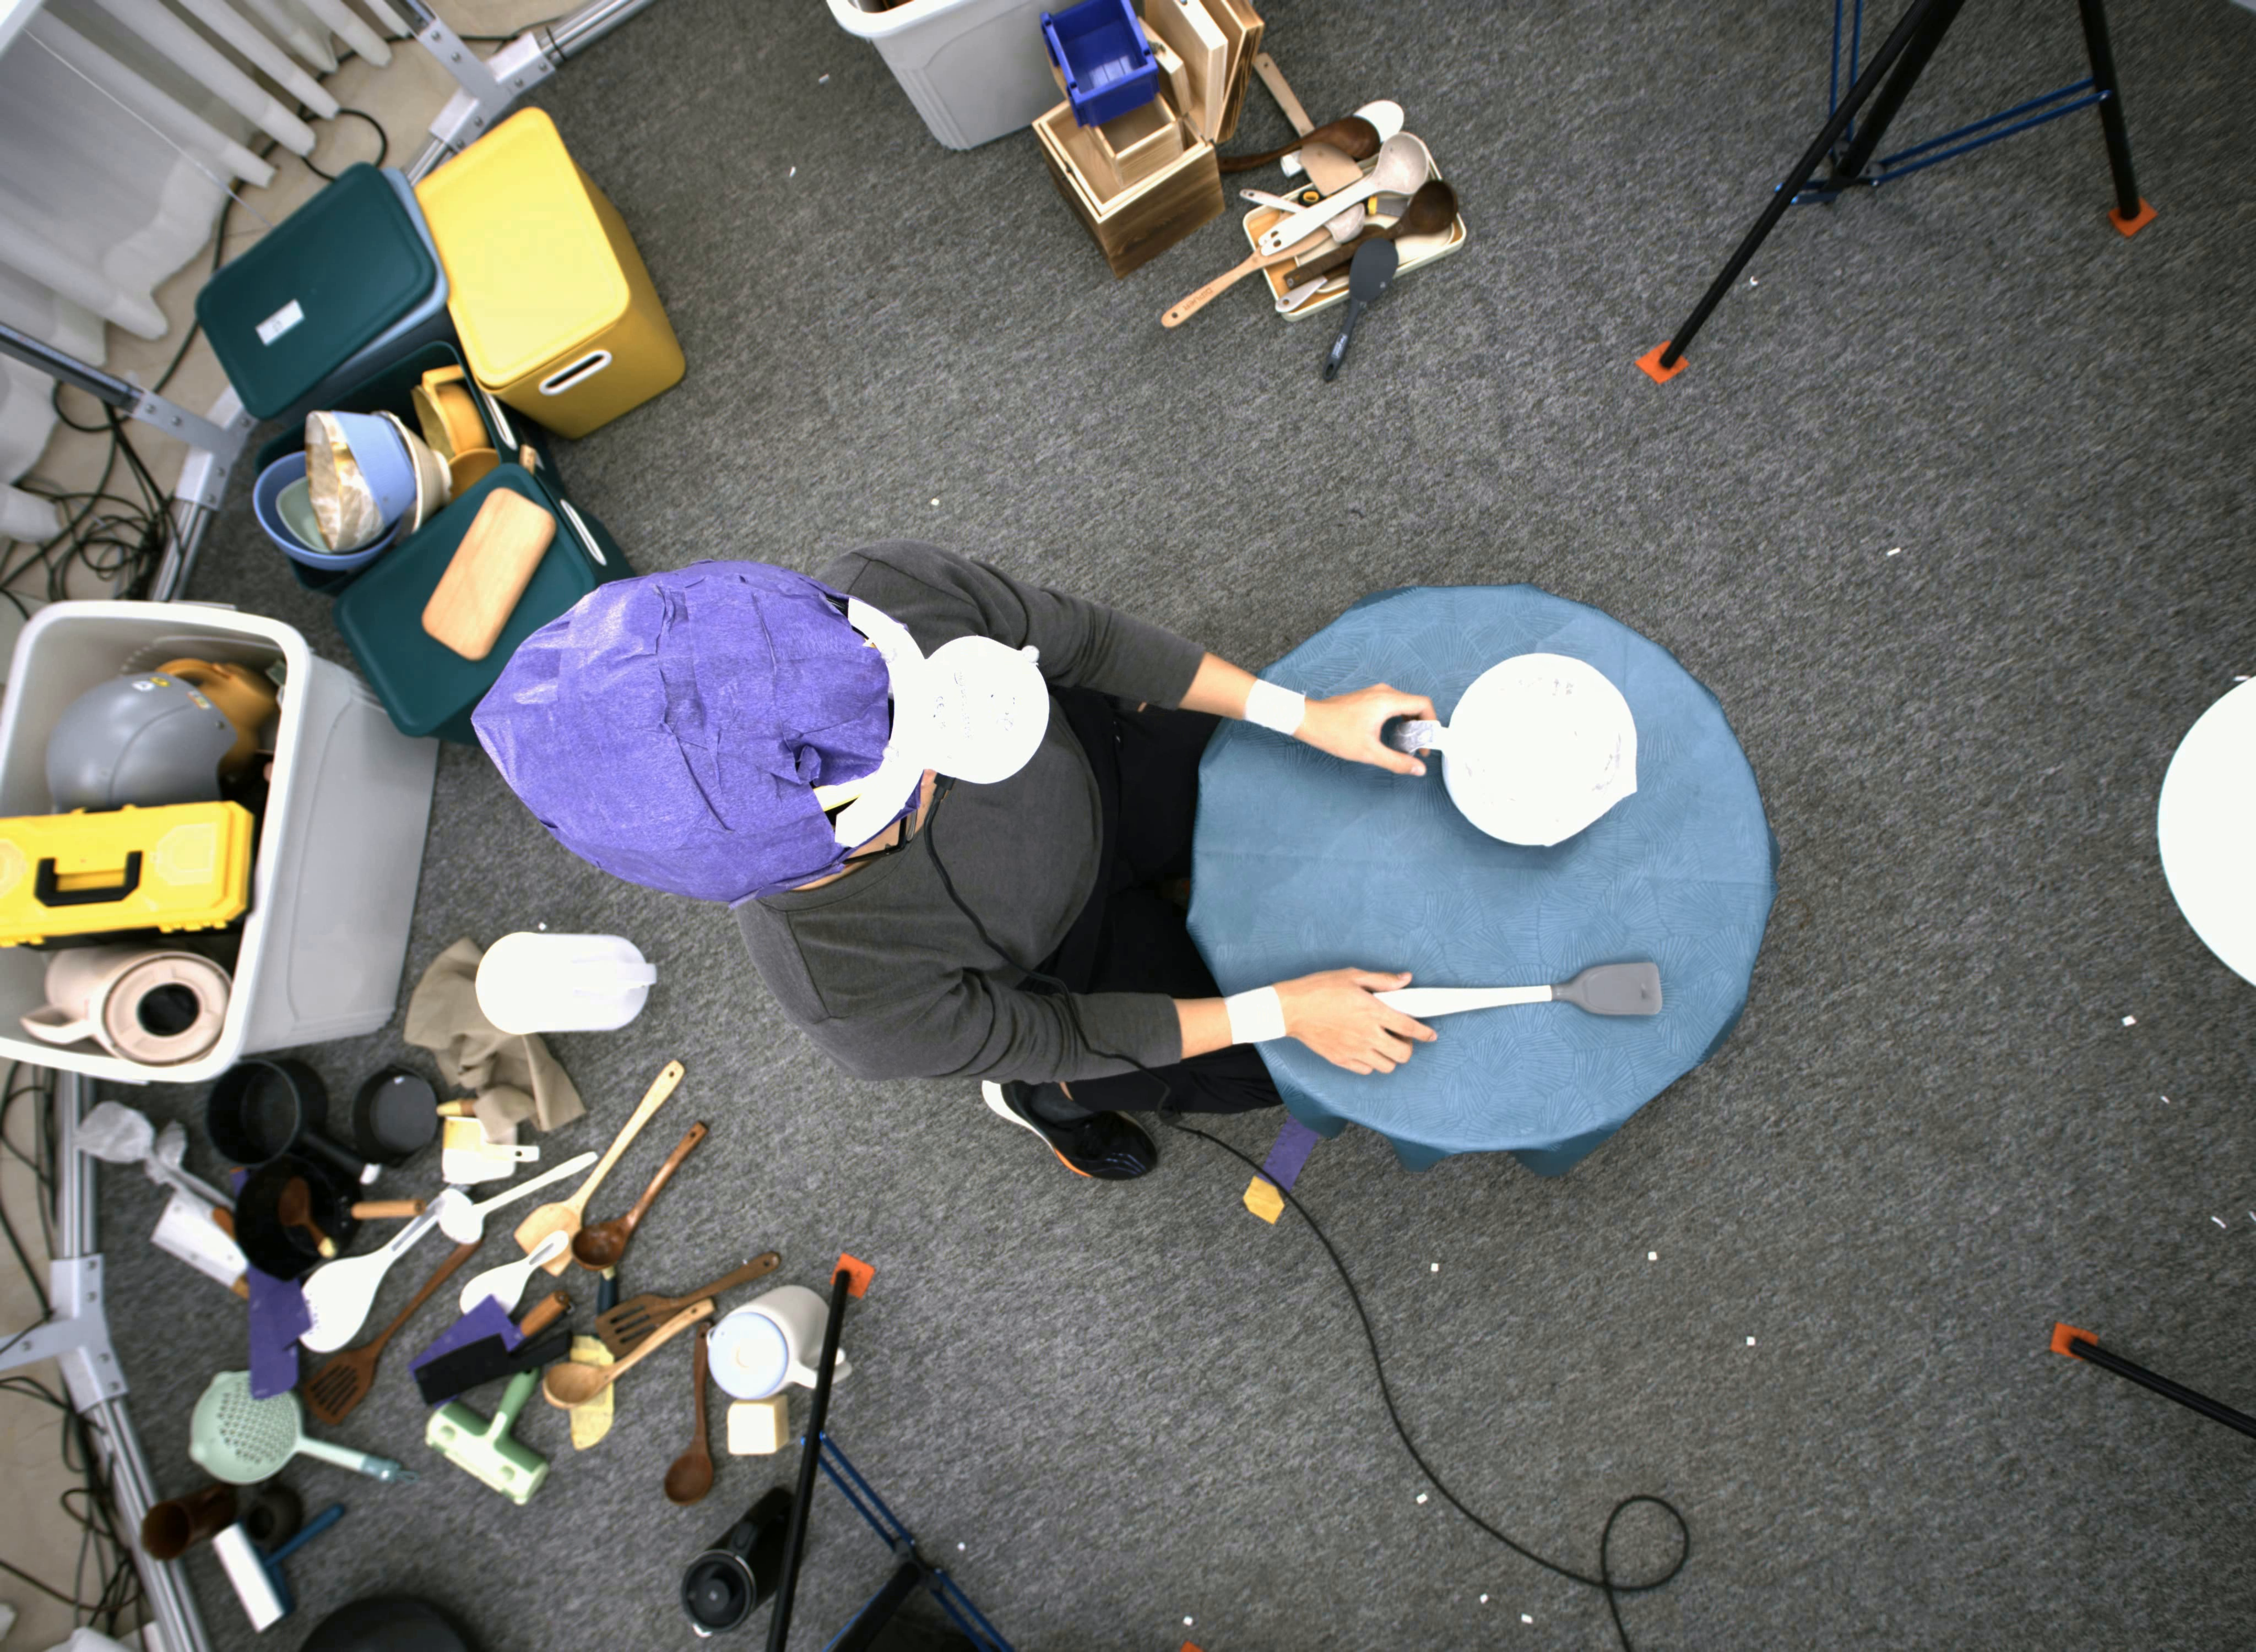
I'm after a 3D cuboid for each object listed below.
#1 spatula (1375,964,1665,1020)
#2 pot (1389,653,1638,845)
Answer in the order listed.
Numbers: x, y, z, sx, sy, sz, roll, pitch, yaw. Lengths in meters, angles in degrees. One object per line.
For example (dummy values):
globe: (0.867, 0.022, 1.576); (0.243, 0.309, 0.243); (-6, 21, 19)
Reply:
spatula: (0.400, 0.173, 1.413); (0.289, 0.032, 0.058); (-4, 83, 11)
pot: (0.380, -0.078, 1.378); (0.234, 0.137, 0.178); (7, 87, 11)
